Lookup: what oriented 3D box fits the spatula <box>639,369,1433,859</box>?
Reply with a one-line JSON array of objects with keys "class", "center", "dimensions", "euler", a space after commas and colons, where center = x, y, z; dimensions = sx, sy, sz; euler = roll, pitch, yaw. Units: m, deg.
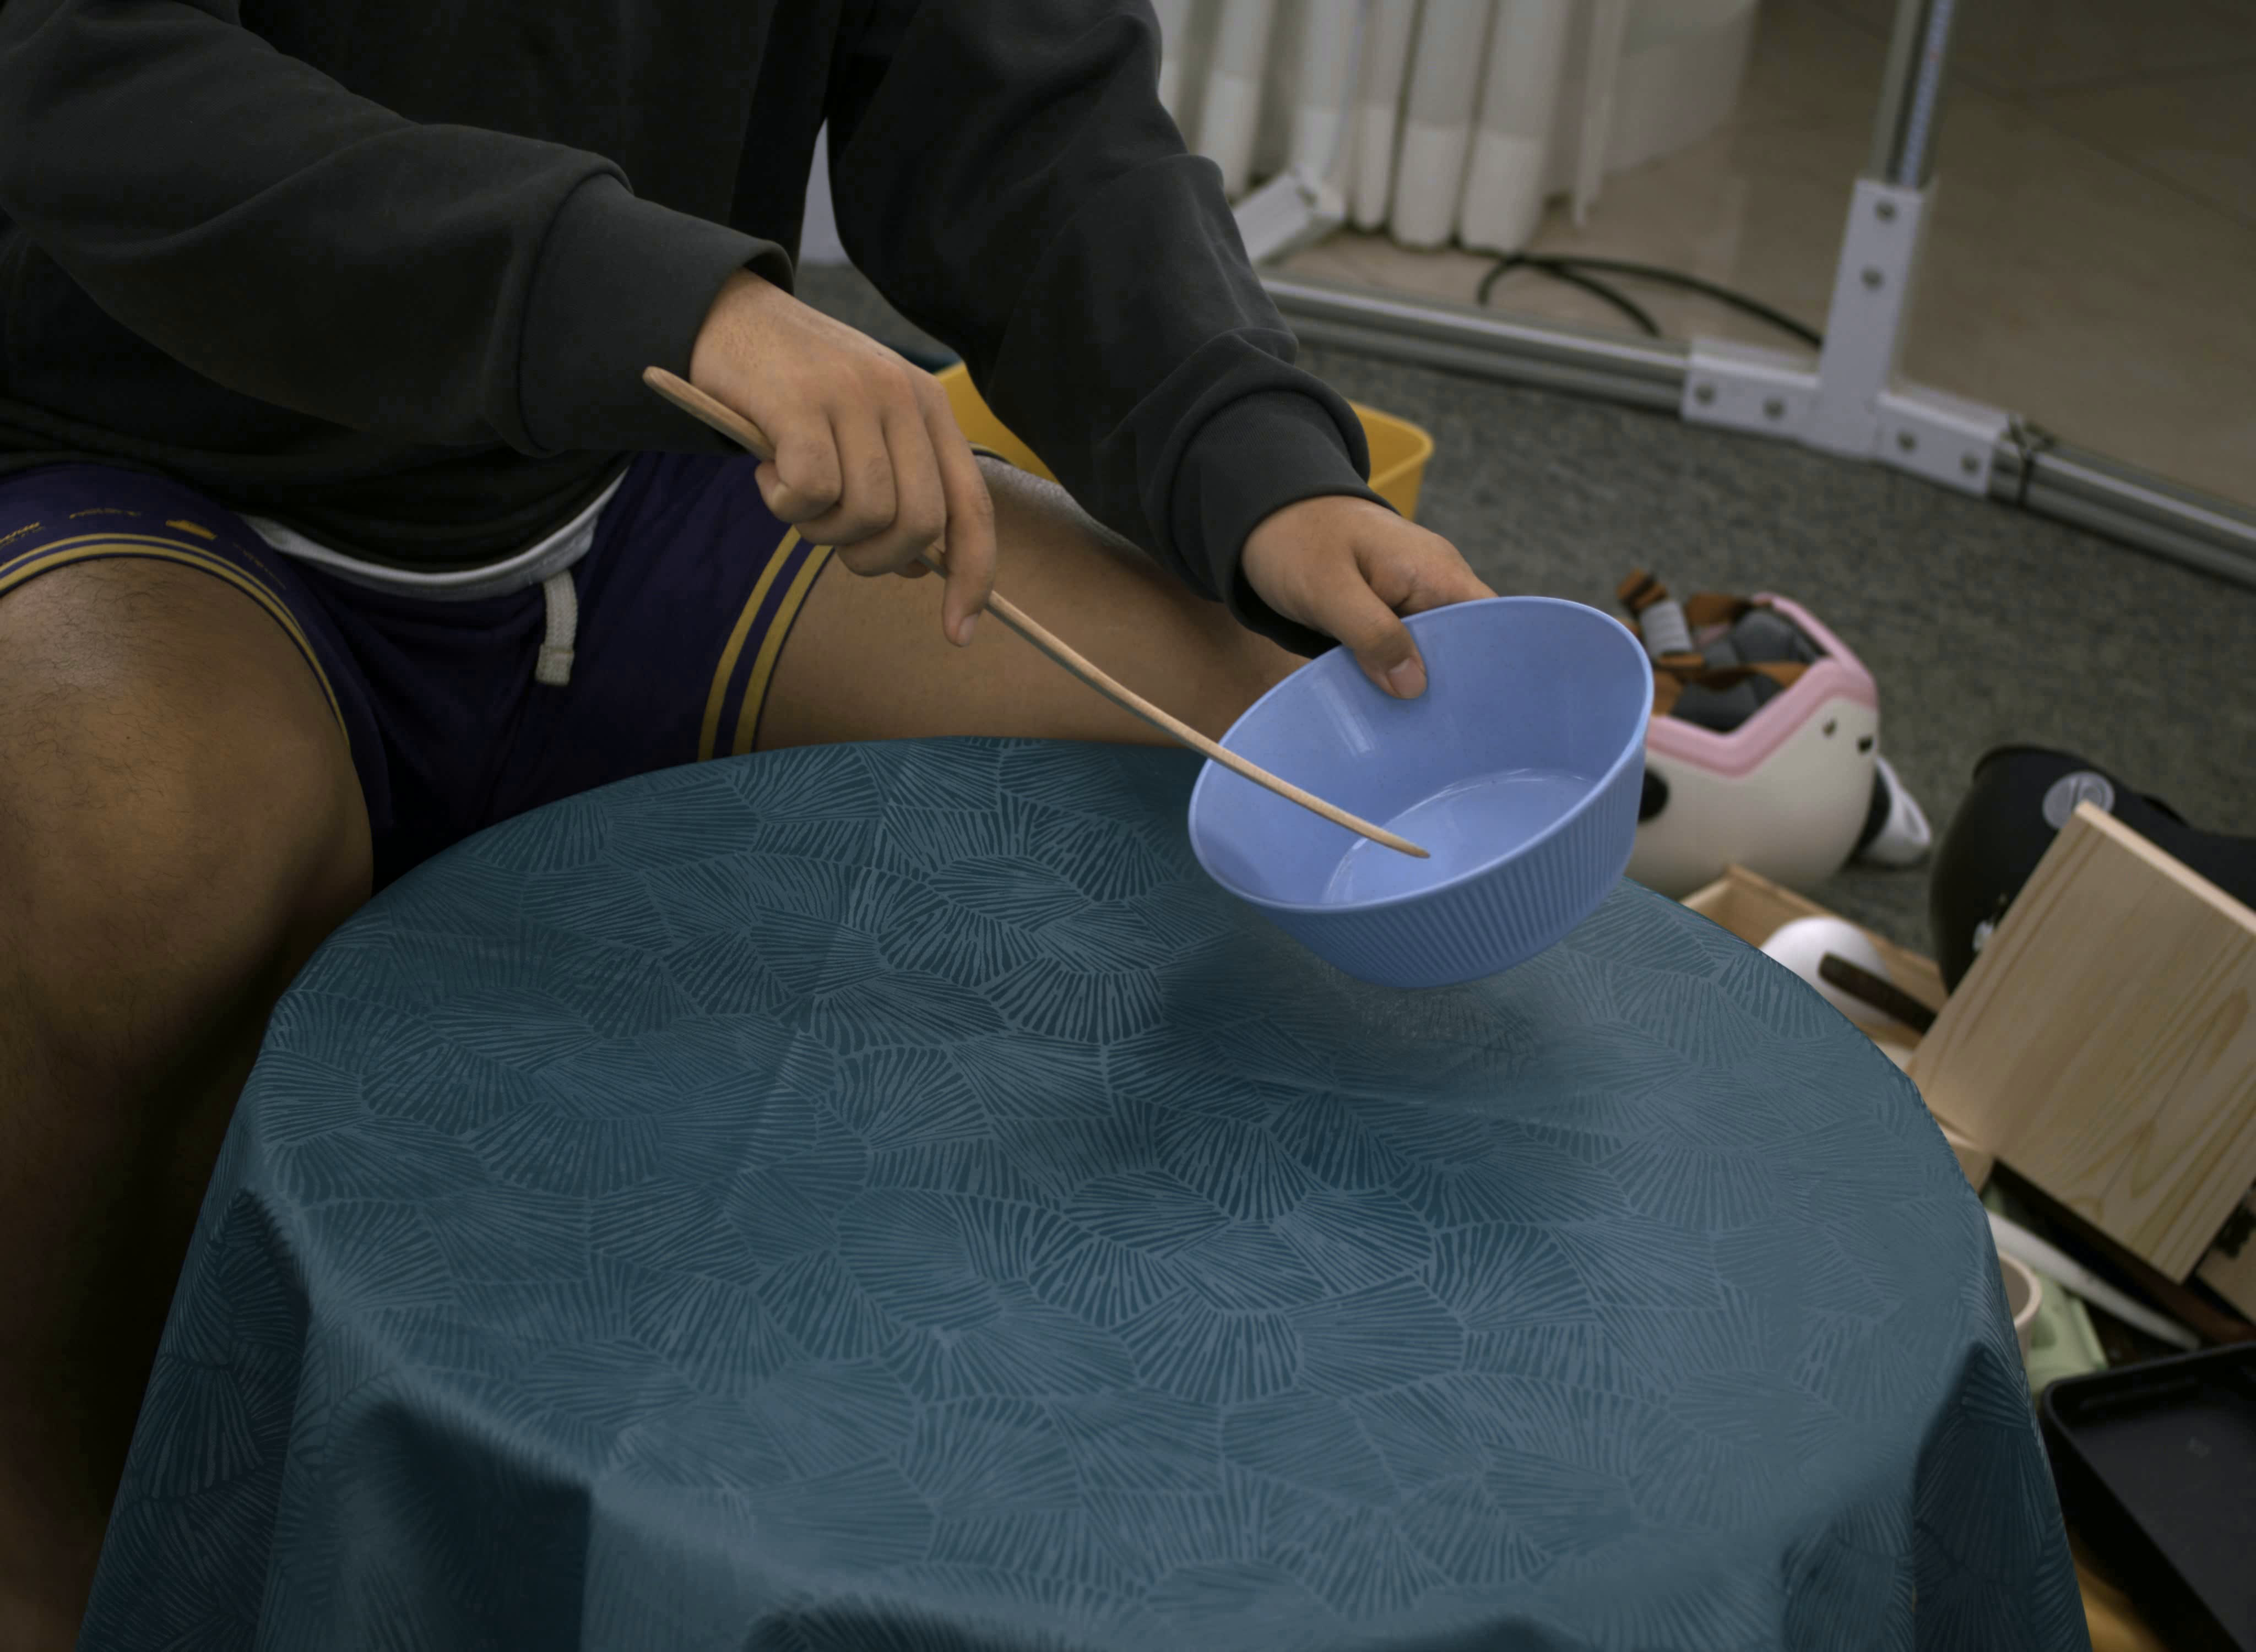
[{"class": "spatula", "center": [-0.033, -0.070, 1.807], "dimensions": [0.325, 0.016, 0.080], "euler": [33, -3, -25]}]

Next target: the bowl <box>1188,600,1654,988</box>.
[{"class": "bowl", "center": [0.114, -0.003, 1.908], "dimensions": [0.176, 0.070, 0.177], "euler": [-19, 32, 12]}]
